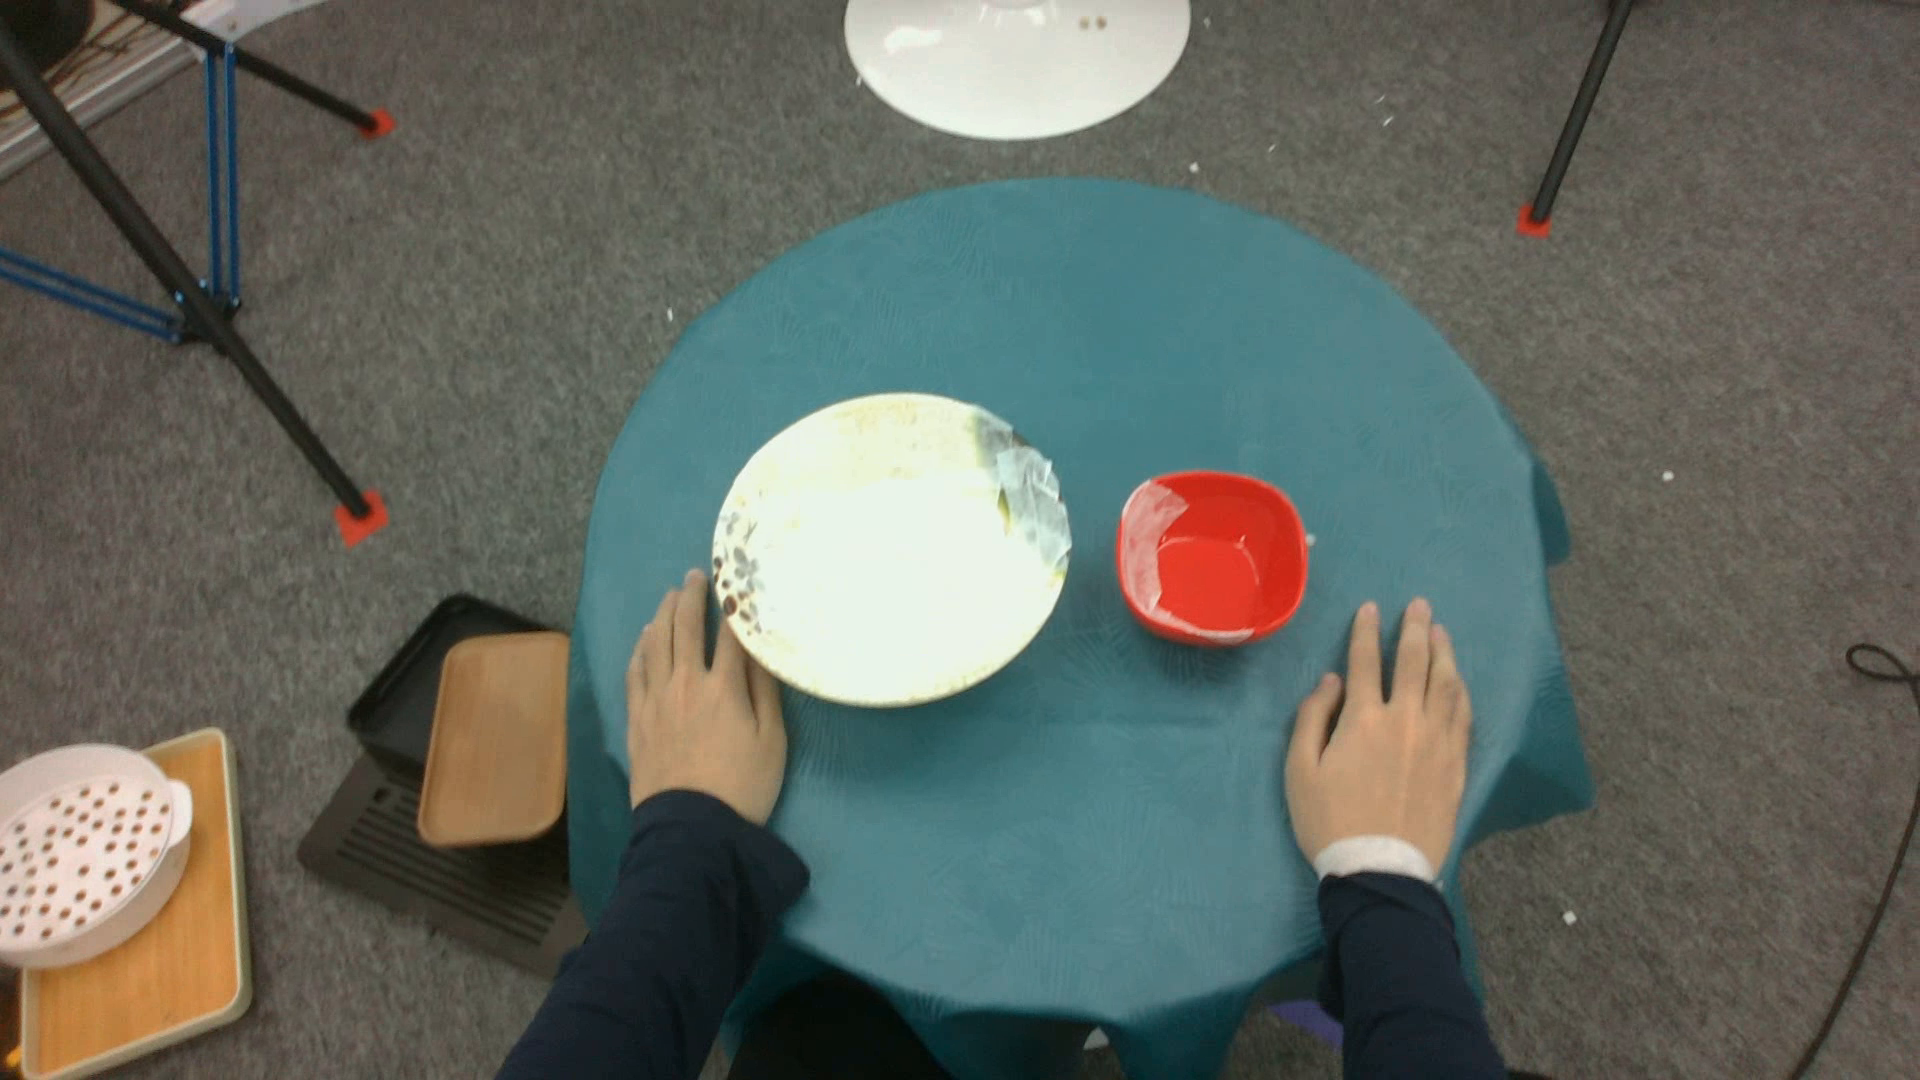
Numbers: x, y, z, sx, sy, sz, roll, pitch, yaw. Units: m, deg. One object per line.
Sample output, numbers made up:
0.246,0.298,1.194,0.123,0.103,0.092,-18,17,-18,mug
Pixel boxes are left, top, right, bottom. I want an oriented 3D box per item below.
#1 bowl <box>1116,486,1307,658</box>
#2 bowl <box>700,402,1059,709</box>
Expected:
0.149,0.027,0.823,0.119,0.051,0.119,-4,58,6,bowl
-0.044,0.021,0.808,0.204,0.077,0.205,-1,58,2,bowl
